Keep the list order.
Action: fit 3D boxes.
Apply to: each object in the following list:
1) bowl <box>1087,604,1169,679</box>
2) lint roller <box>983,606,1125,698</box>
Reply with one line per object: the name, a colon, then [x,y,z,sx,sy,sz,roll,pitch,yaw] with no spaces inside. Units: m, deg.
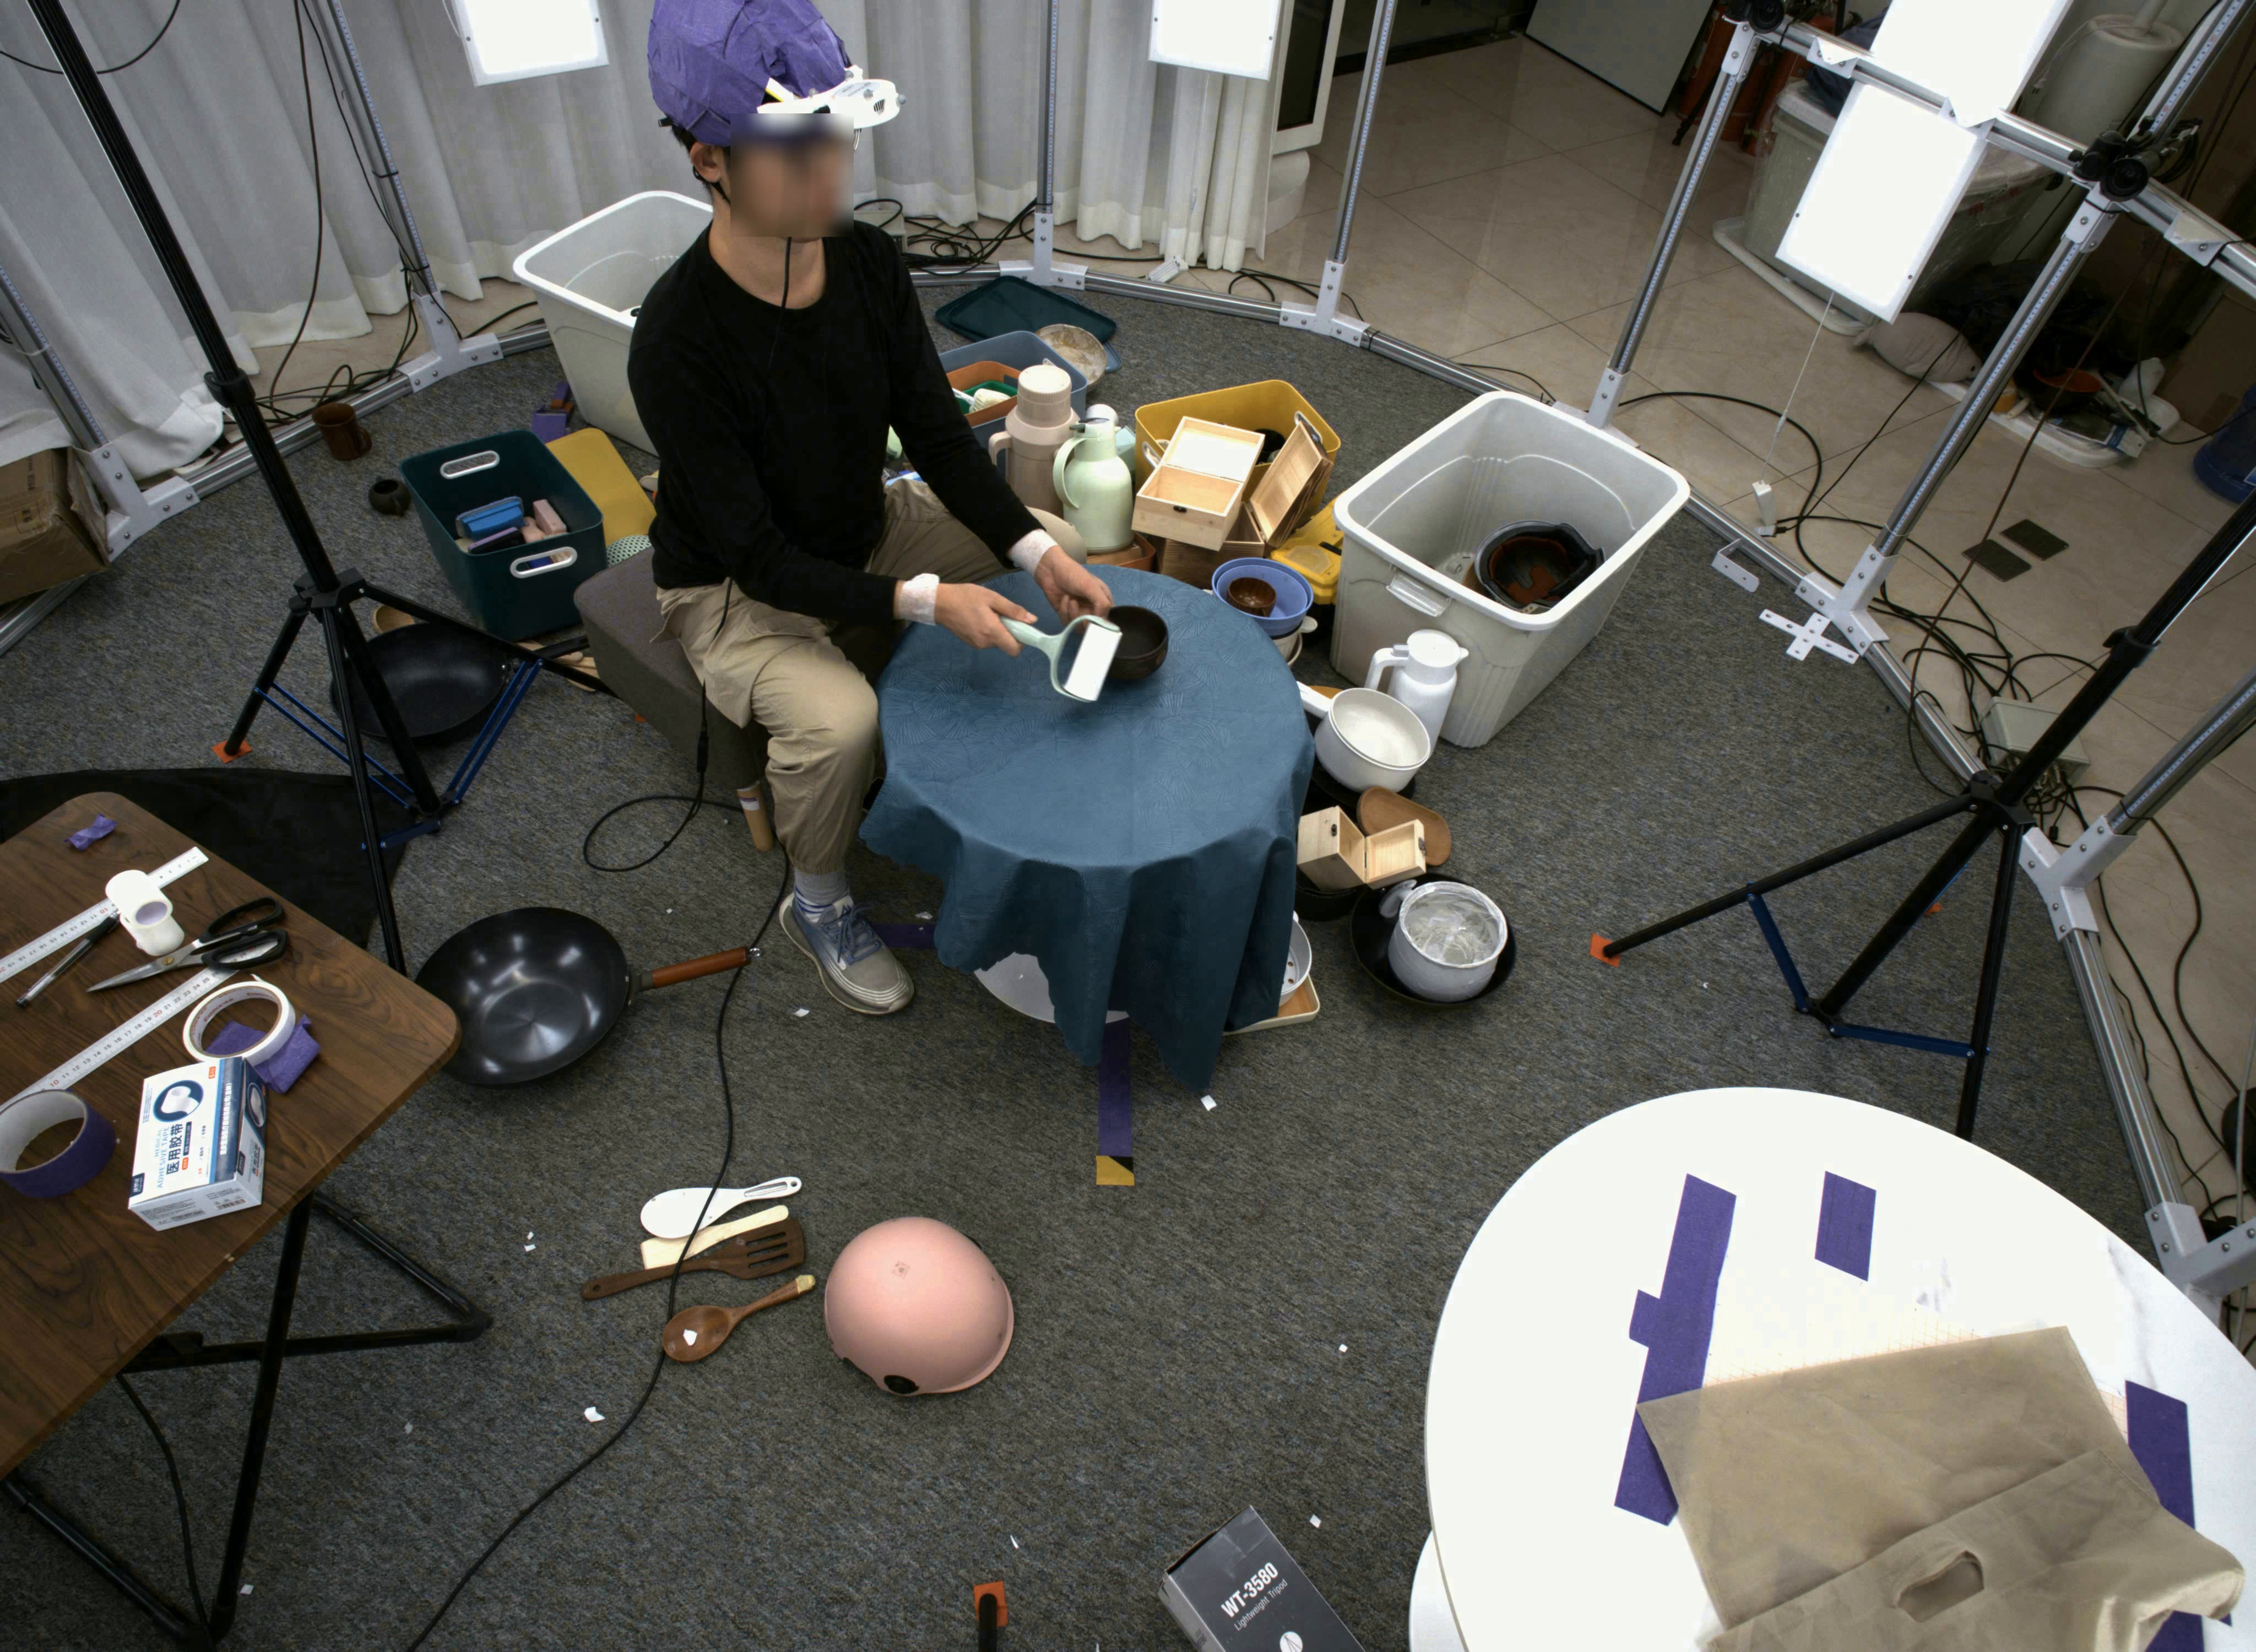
bowl: [0.000,-0.256,1.844,0.118,0.068,0.121,-1,48,0]
lint roller: [-0.110,-0.262,1.771,0.198,0.115,0.049,23,16,5]
